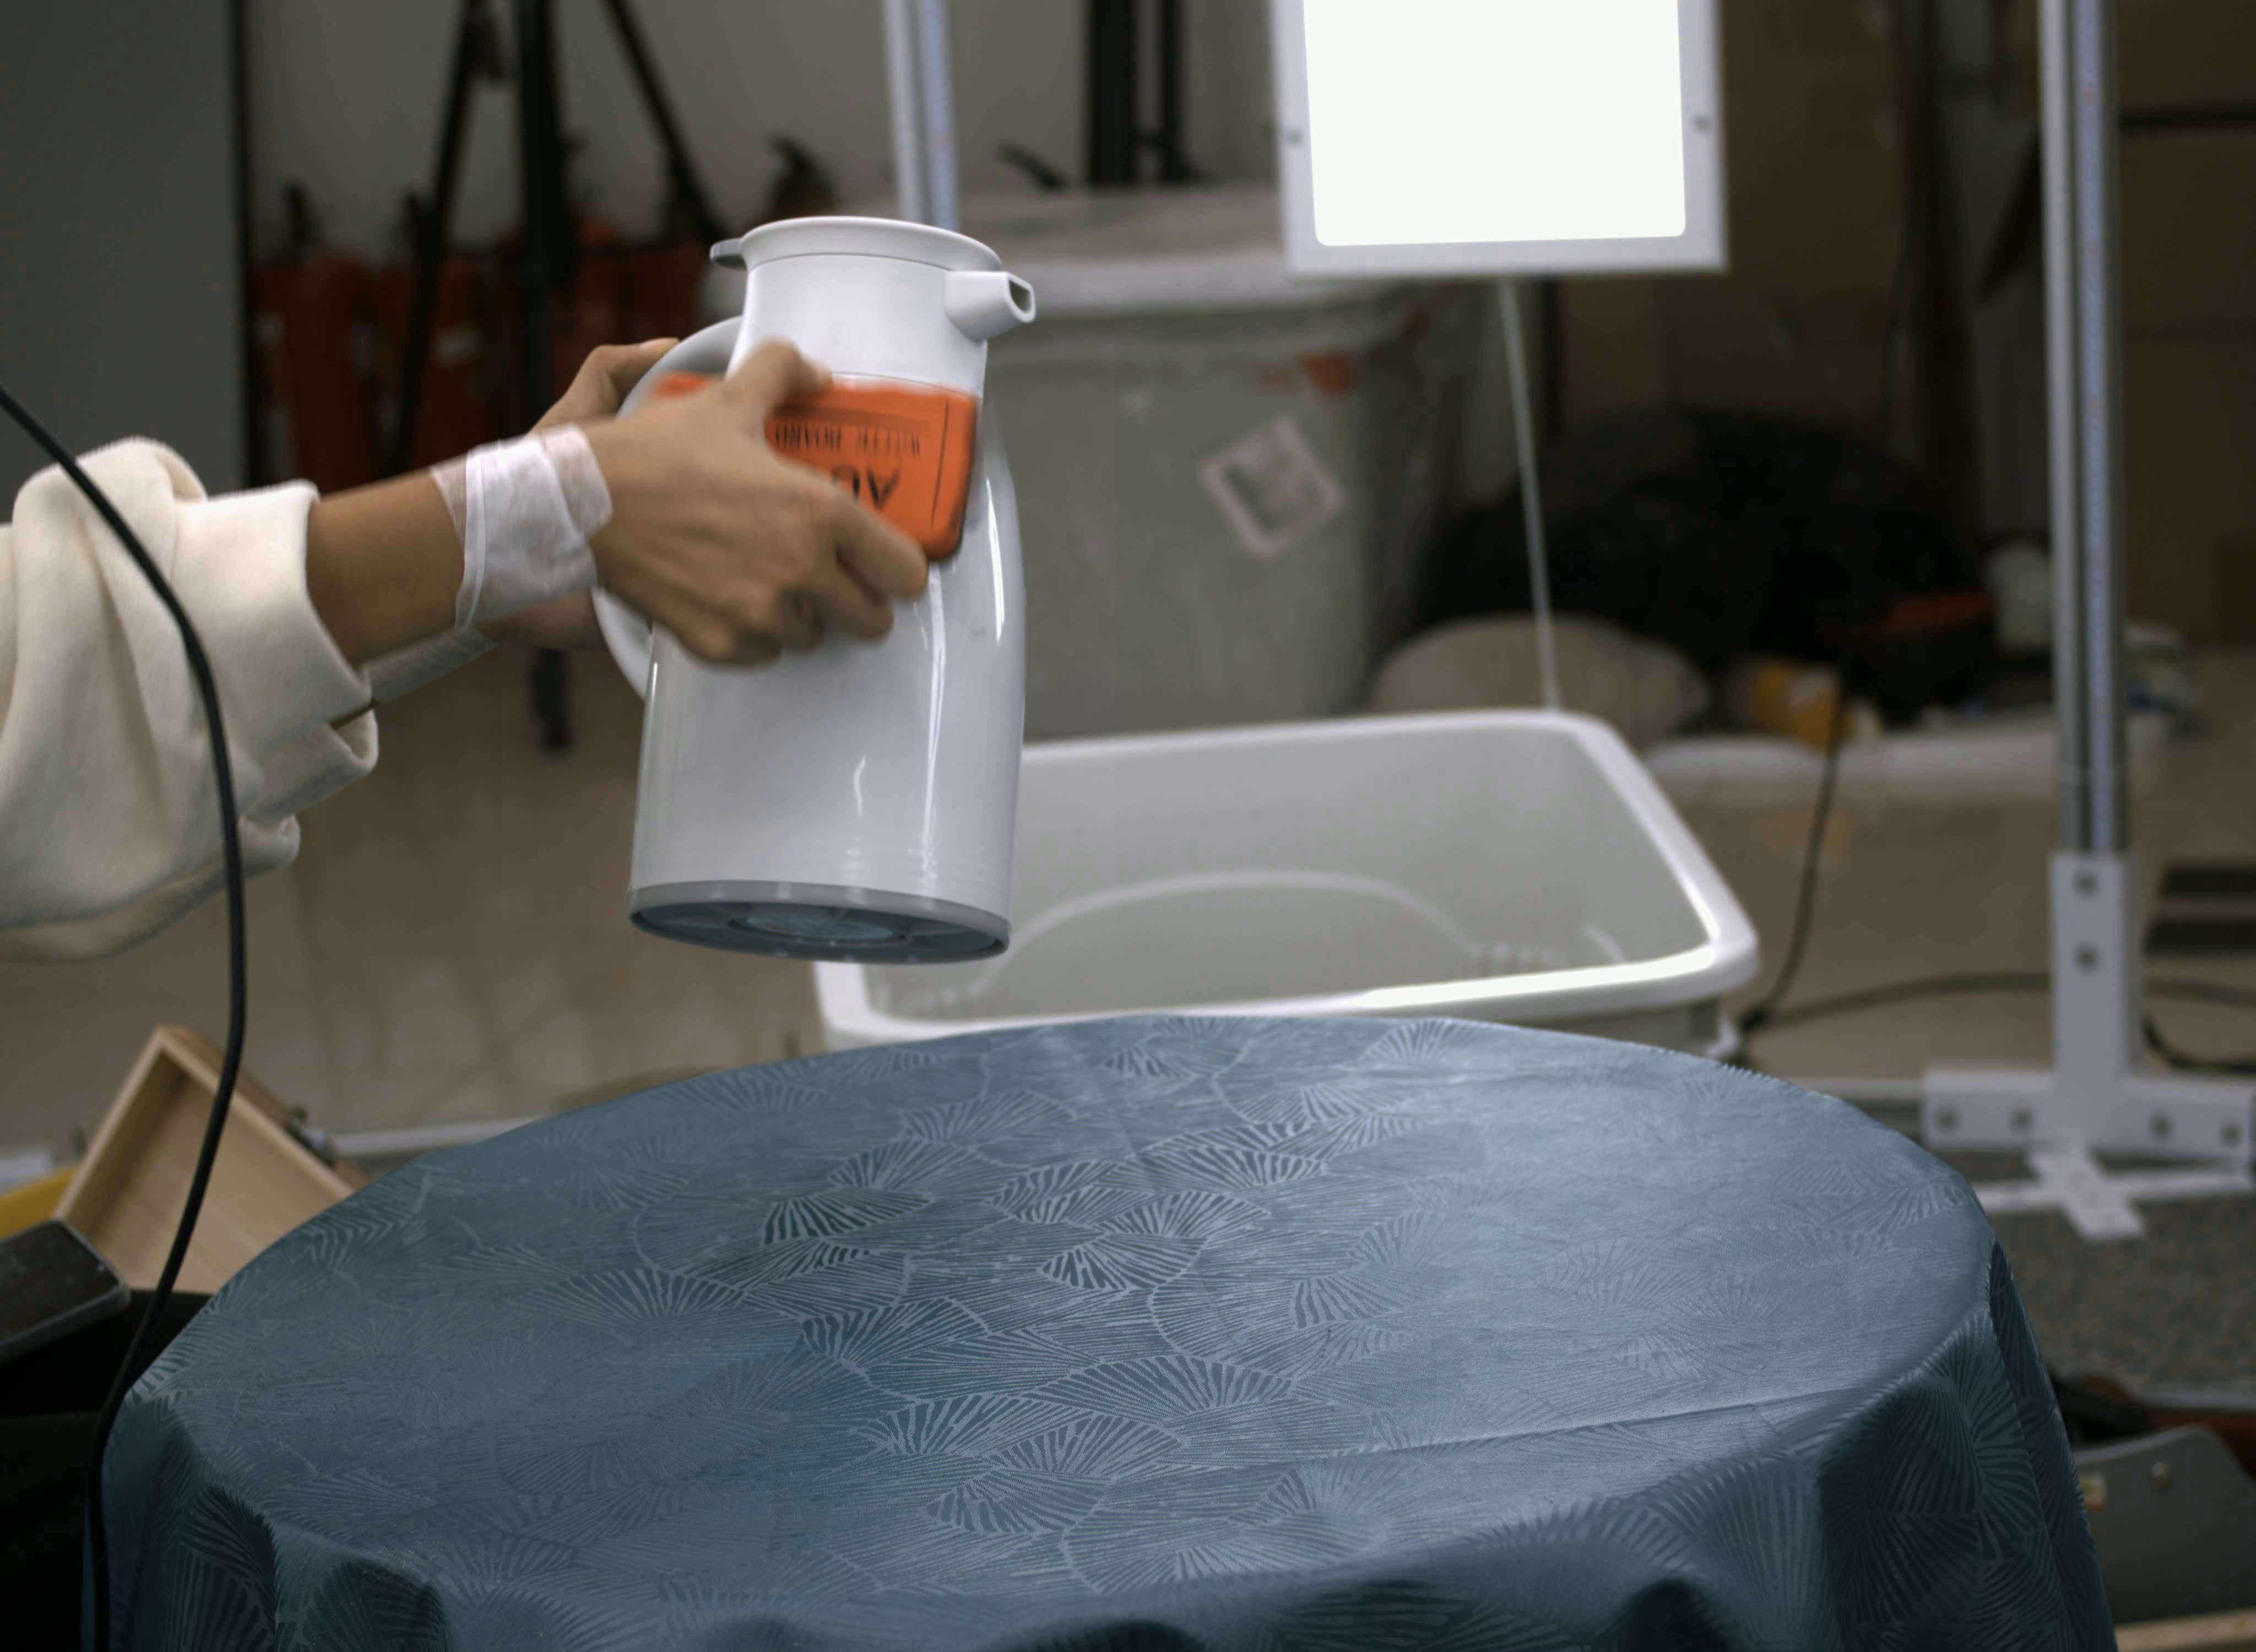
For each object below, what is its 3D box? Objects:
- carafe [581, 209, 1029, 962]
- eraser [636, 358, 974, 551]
[{"bbox_3d":[-0.116,-0.085,1.903,0.171,0.249,0.130,-2,-11,28],"label":"carafe"},{"bbox_3d":[-0.107,-0.124,1.832,0.109,0.059,0.023,3,-20,13],"label":"eraser"}]
